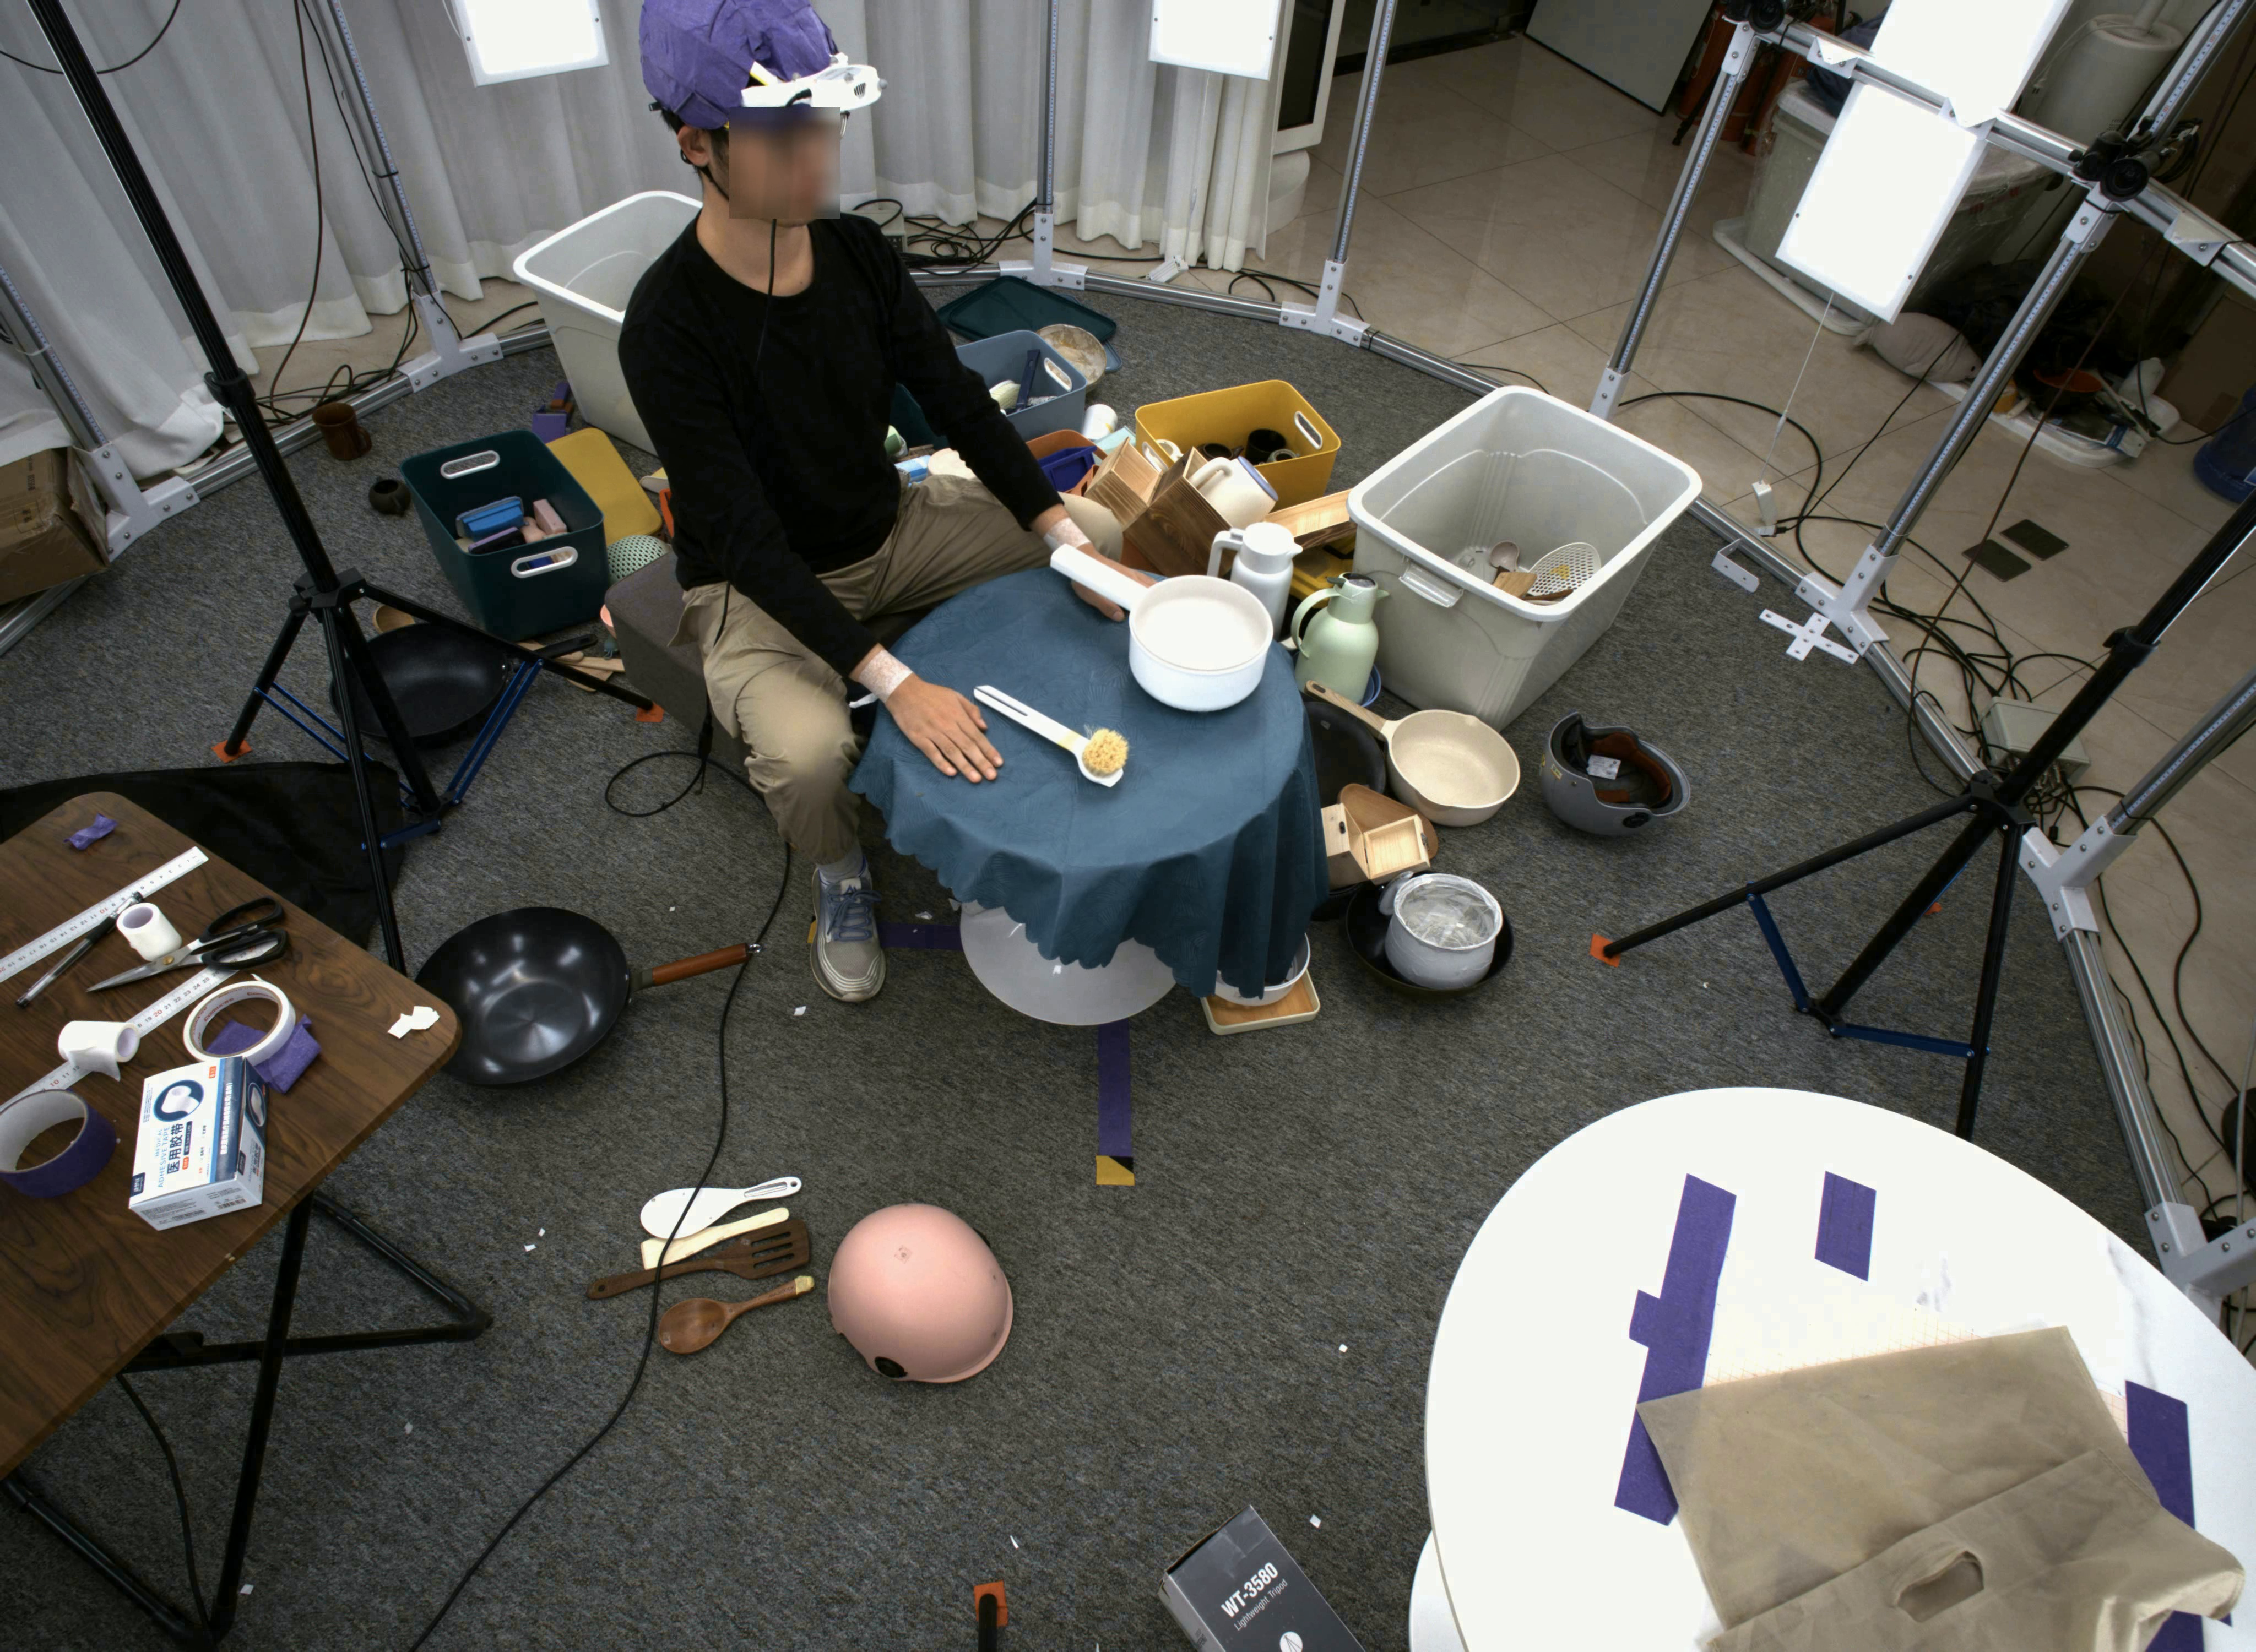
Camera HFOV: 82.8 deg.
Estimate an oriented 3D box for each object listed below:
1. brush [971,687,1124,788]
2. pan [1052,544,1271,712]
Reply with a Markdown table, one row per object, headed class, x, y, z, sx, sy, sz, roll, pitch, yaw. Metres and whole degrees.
| class | x | y | z | sx | sy | sz | roll | pitch | yaw |
| --- | --- | --- | --- | --- | --- | --- | --- | --- | --- |
| brush | -0.116 | -0.139 | 1.748 | 0.270 | 0.055 | 0.069 | 34 | 51 | 25 |
| pan | 0.037 | -0.293 | 1.864 | 0.359 | 0.099 | 0.204 | 31 | 55 | 22 |
